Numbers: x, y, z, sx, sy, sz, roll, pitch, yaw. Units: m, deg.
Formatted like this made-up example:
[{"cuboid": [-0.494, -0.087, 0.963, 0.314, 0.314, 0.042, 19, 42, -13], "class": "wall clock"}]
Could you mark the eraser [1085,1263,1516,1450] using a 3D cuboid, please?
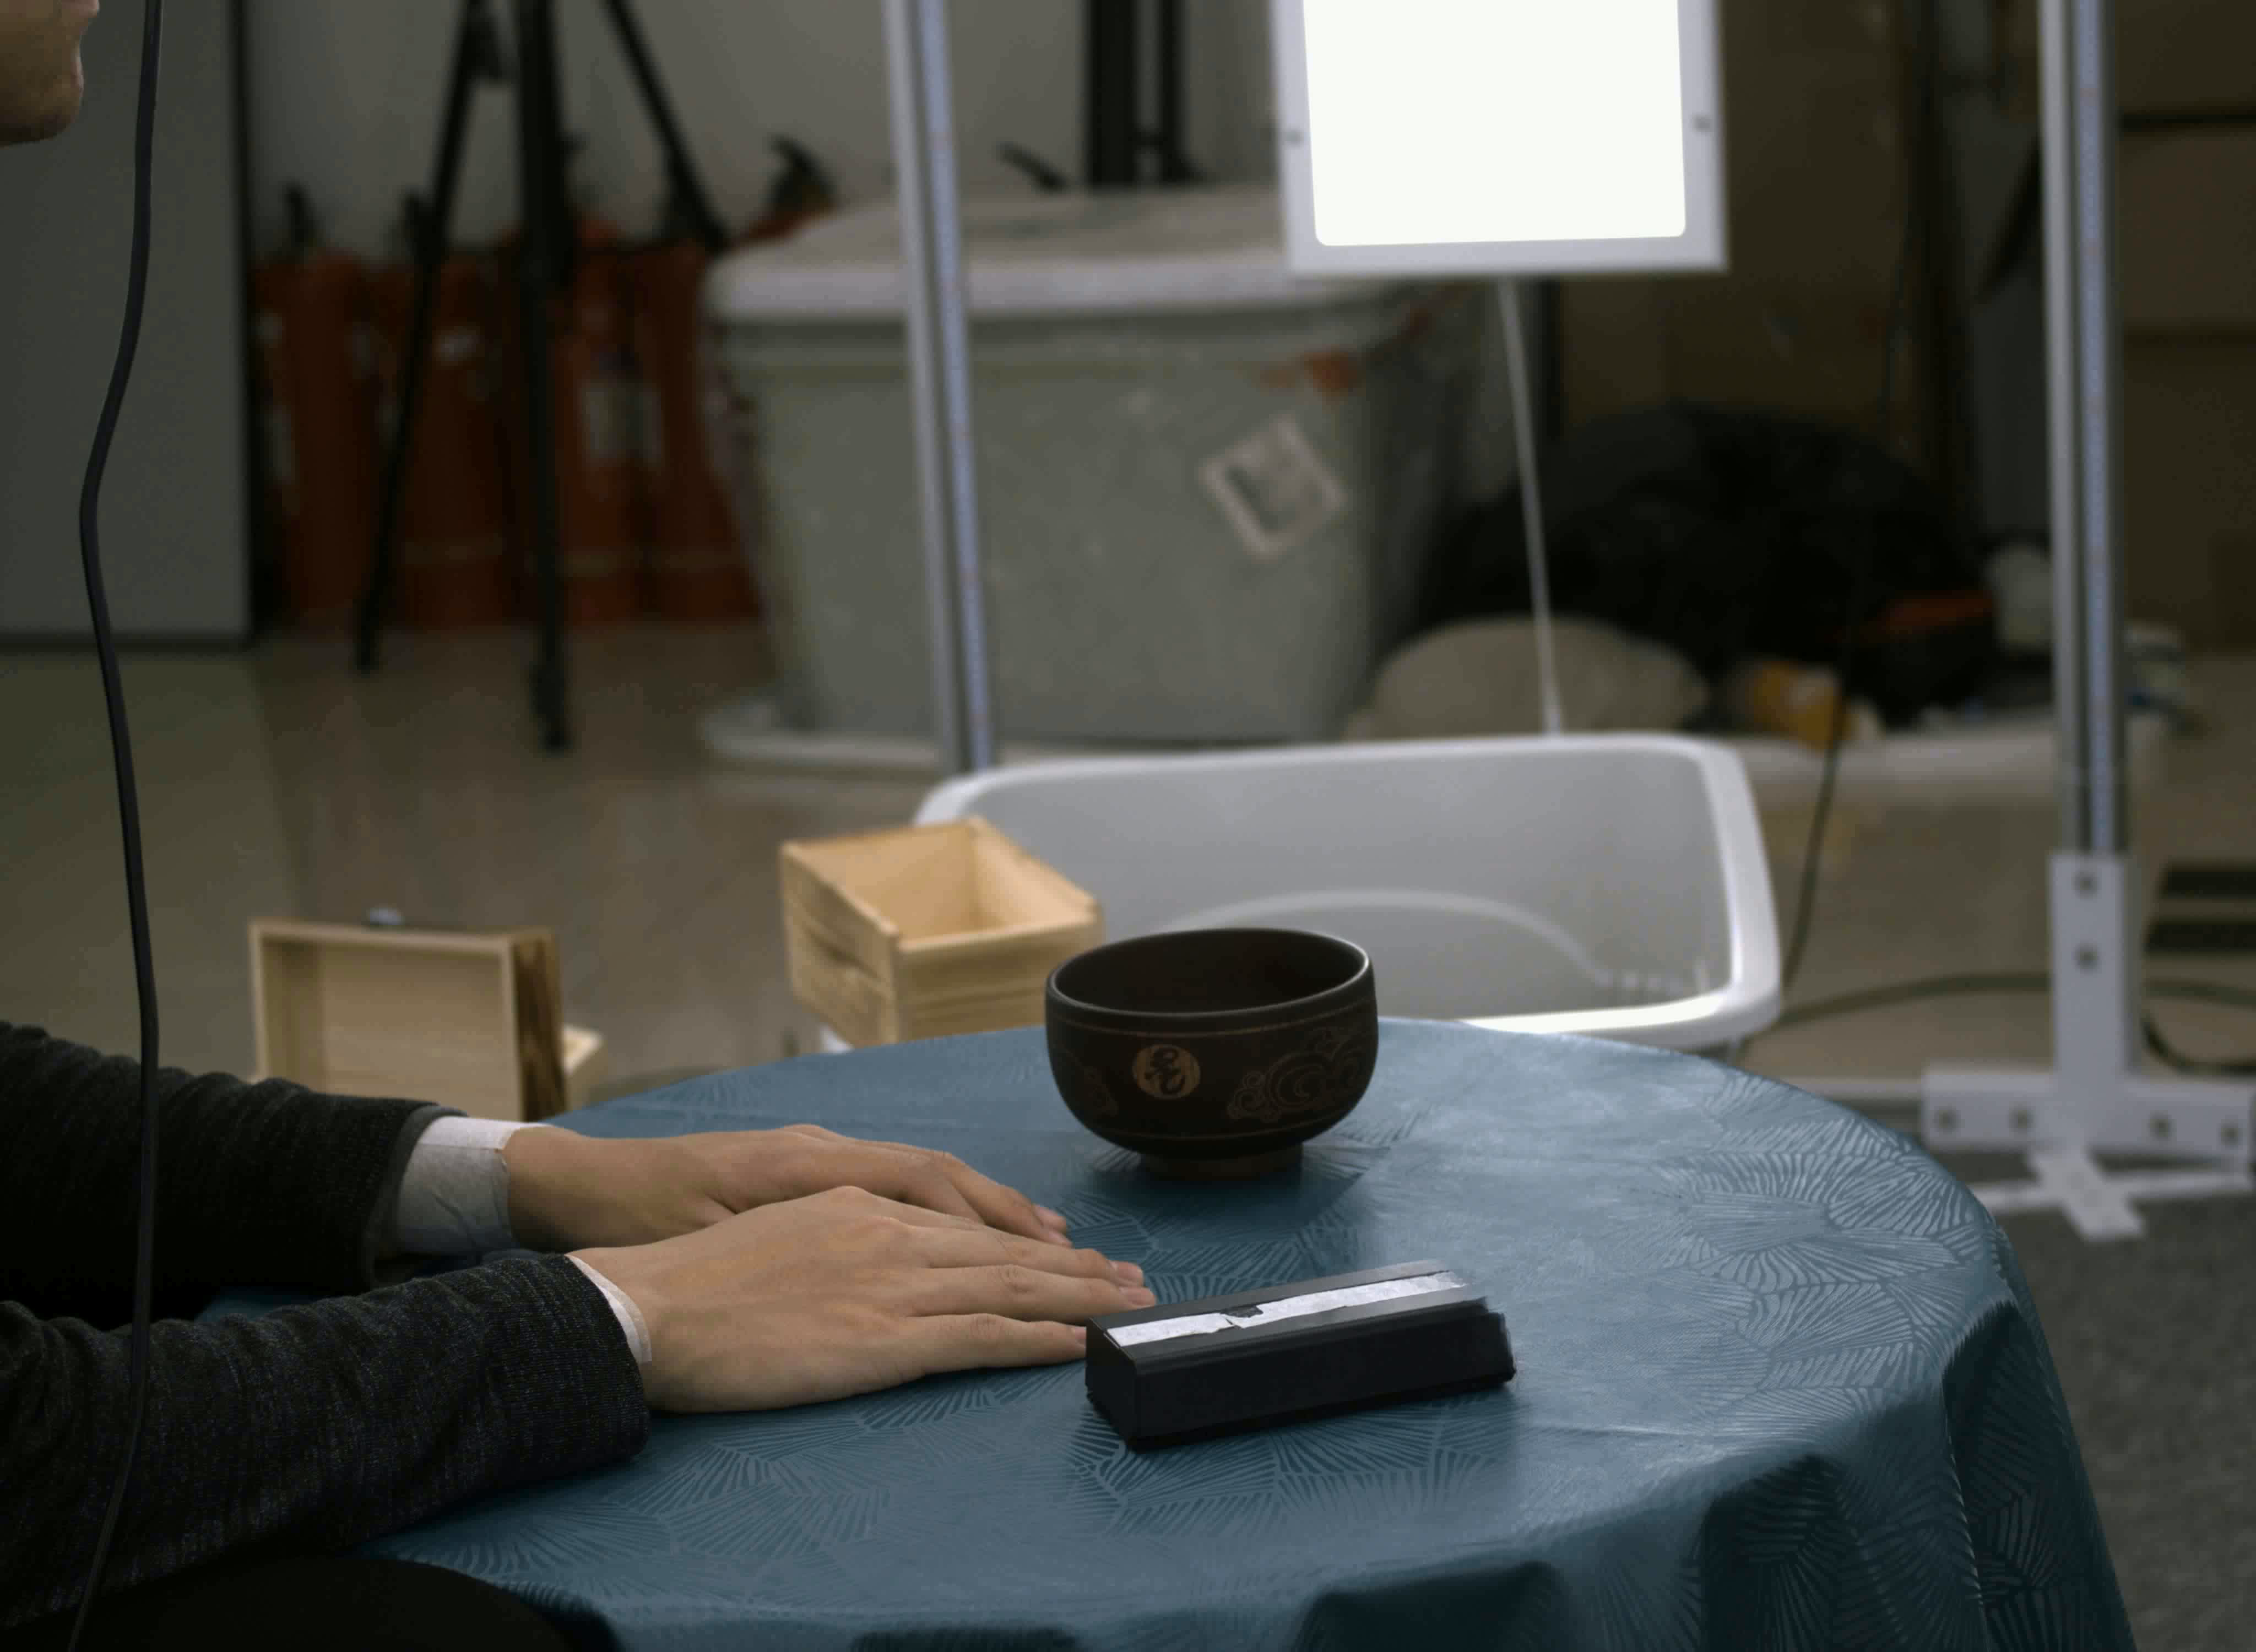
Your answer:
[{"cuboid": [0.054, 0.161, 1.679, 0.123, 0.030, 0.054, -9, 11, -15], "class": "eraser"}]

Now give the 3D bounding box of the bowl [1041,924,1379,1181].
[{"cuboid": [0.030, 0.082, 1.918, 0.118, 0.070, 0.118, -6, 15, 0], "class": "bowl"}]
